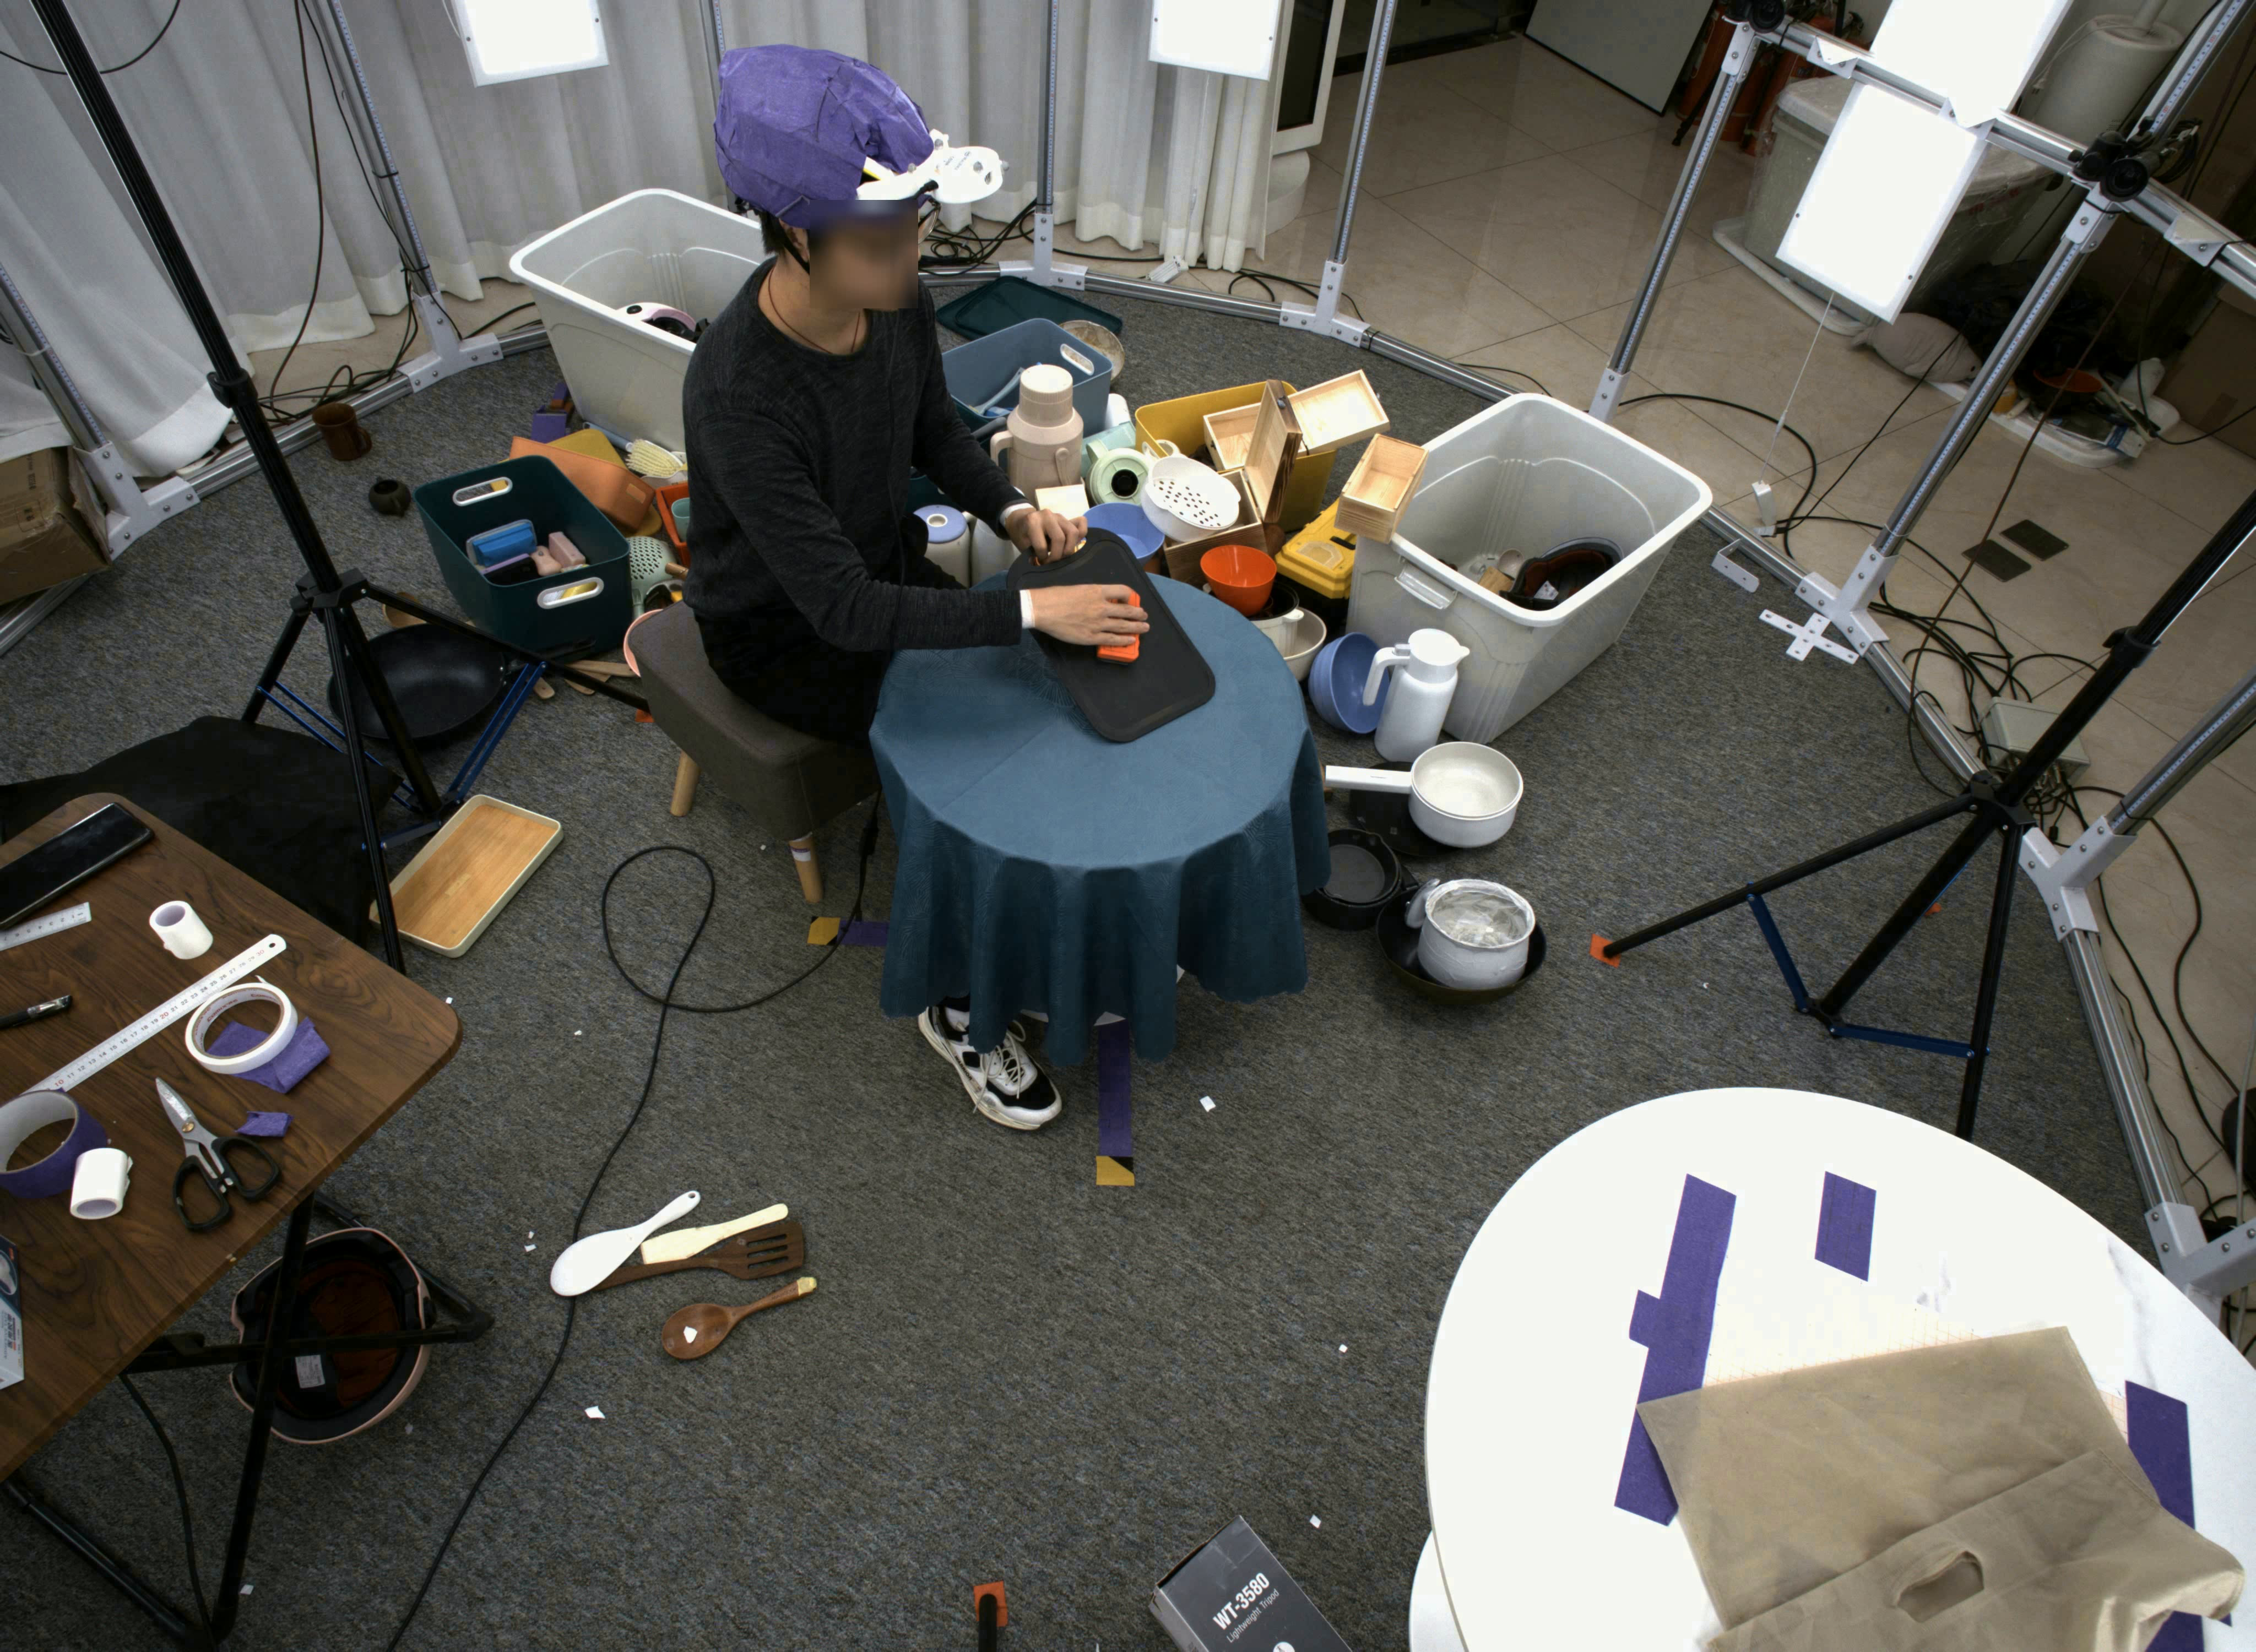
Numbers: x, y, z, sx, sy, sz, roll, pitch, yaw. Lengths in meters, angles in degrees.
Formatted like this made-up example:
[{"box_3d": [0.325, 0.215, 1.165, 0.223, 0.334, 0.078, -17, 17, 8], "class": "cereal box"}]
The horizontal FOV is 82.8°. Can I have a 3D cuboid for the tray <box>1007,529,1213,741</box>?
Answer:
[{"box_3d": [-0.029, -0.282, 1.832, 0.212, 0.009, 0.328, -27, 78, -26], "class": "tray"}]

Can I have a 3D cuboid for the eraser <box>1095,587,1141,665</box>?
[{"box_3d": [-0.014, -0.285, 1.828, 0.059, 0.022, 0.110, 9, 66, -12], "class": "eraser"}]
